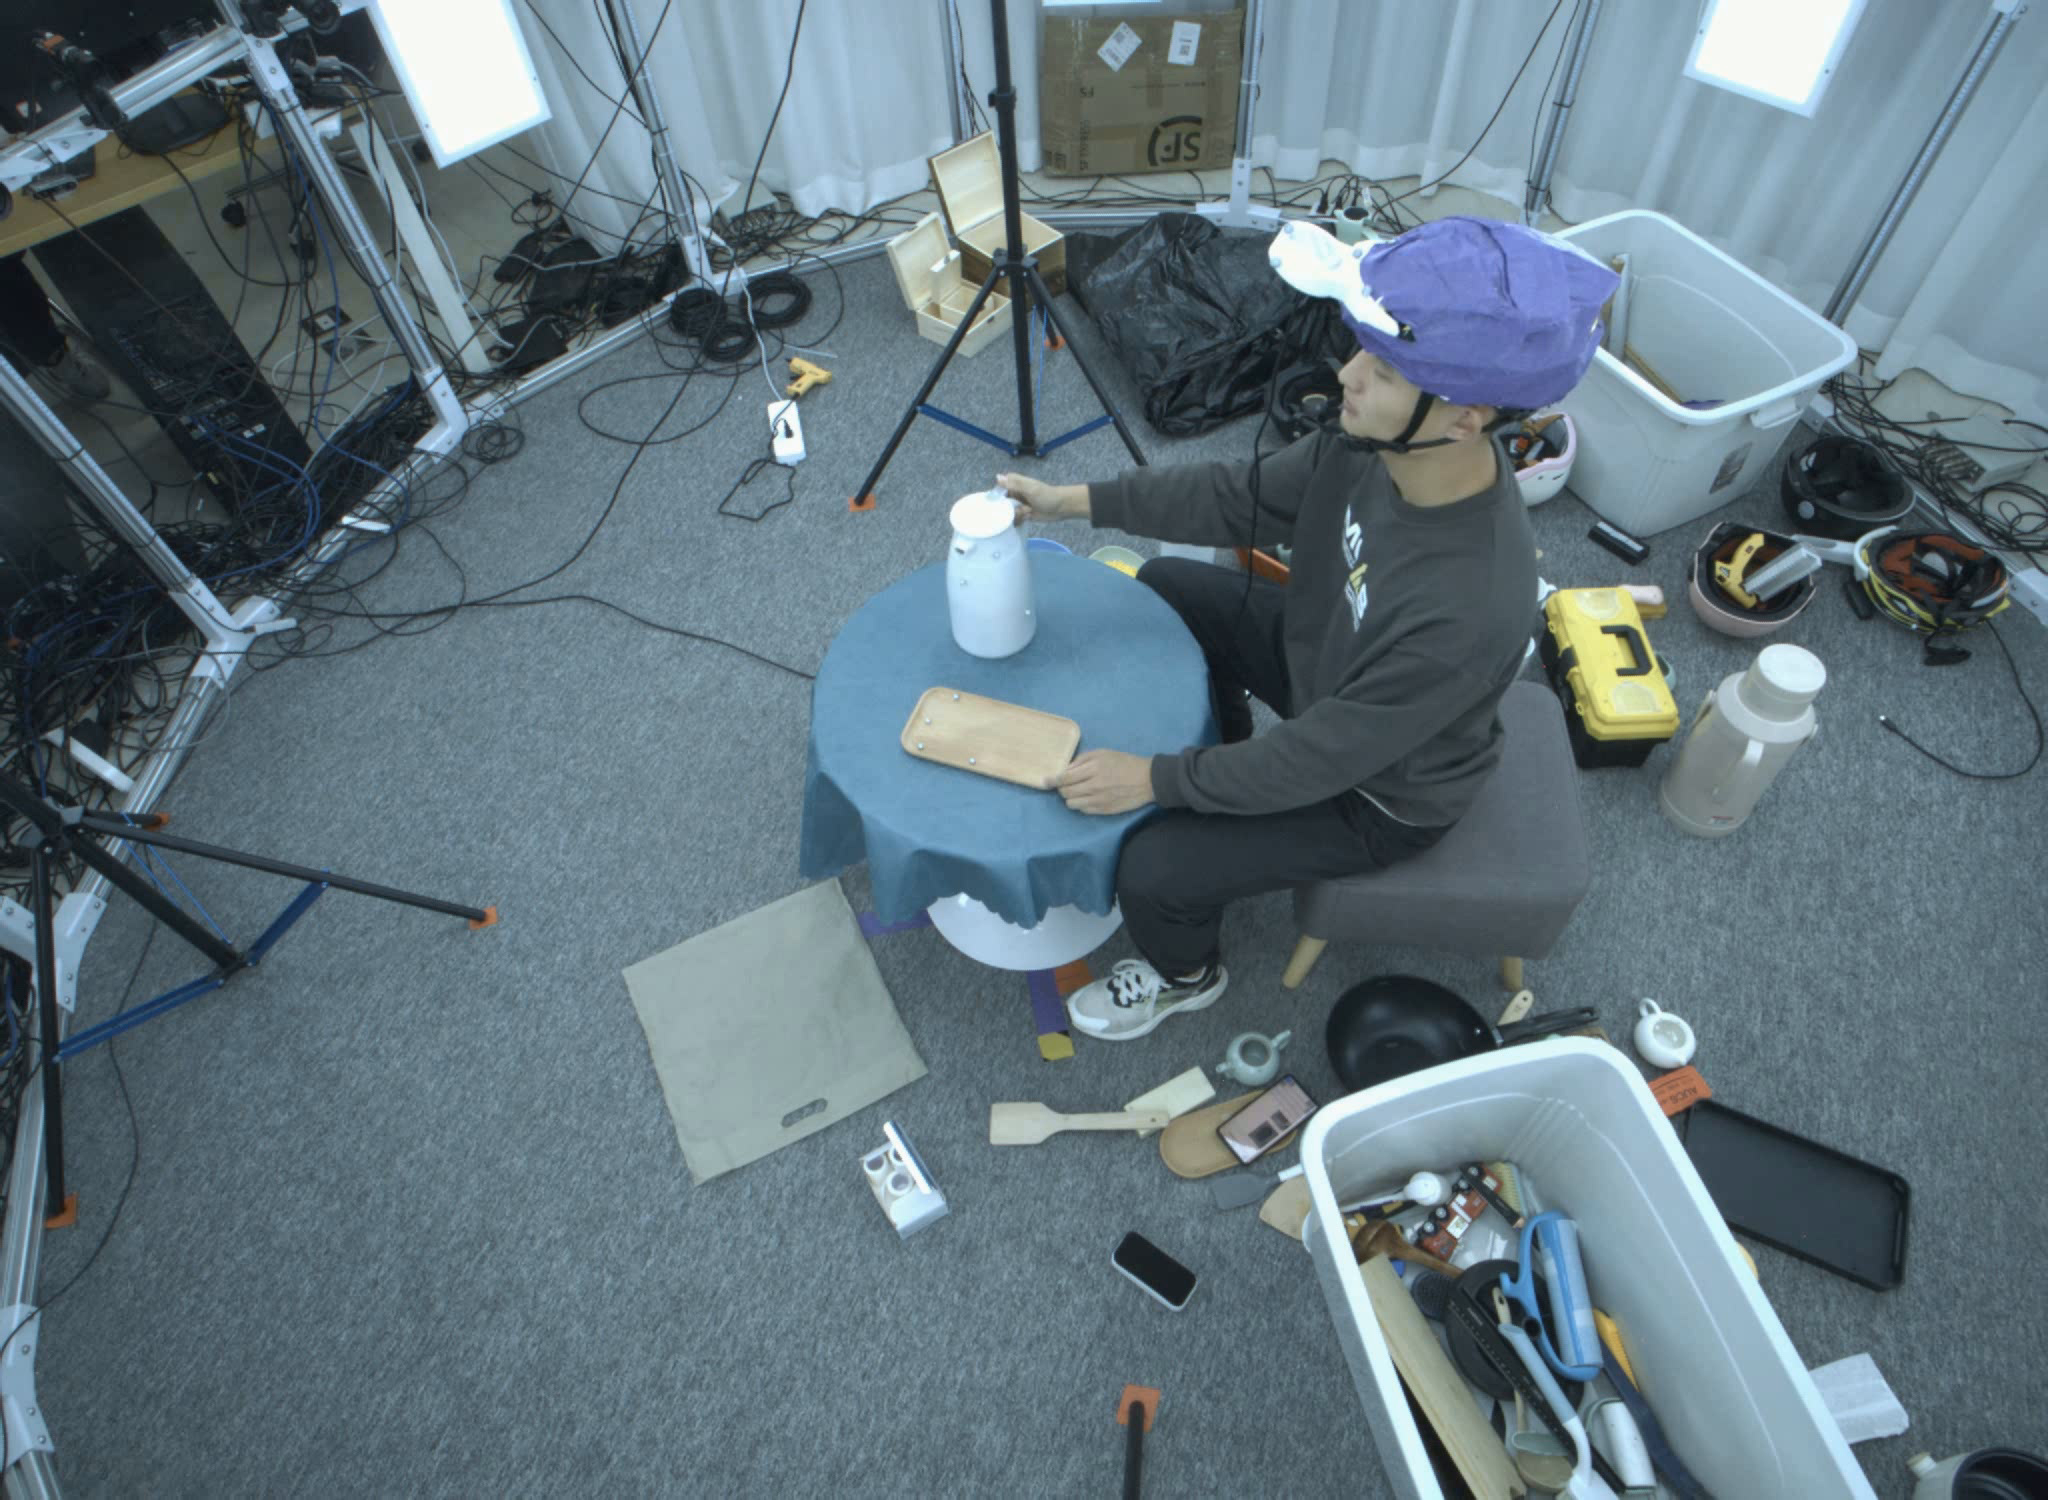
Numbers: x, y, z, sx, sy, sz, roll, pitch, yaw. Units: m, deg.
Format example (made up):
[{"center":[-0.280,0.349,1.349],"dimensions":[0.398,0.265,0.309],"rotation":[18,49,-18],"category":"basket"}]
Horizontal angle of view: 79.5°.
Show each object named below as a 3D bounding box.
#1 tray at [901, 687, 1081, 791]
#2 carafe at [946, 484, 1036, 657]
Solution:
[{"center":[-0.048,-0.018,1.789],"dimensions":[0.248,0.023,0.130],"rotation":[16,59,12],"category":"tray"},{"center":[-0.046,-0.281,1.832],"dimensions":[0.130,0.251,0.168],"rotation":[22,58,19],"category":"carafe"}]
